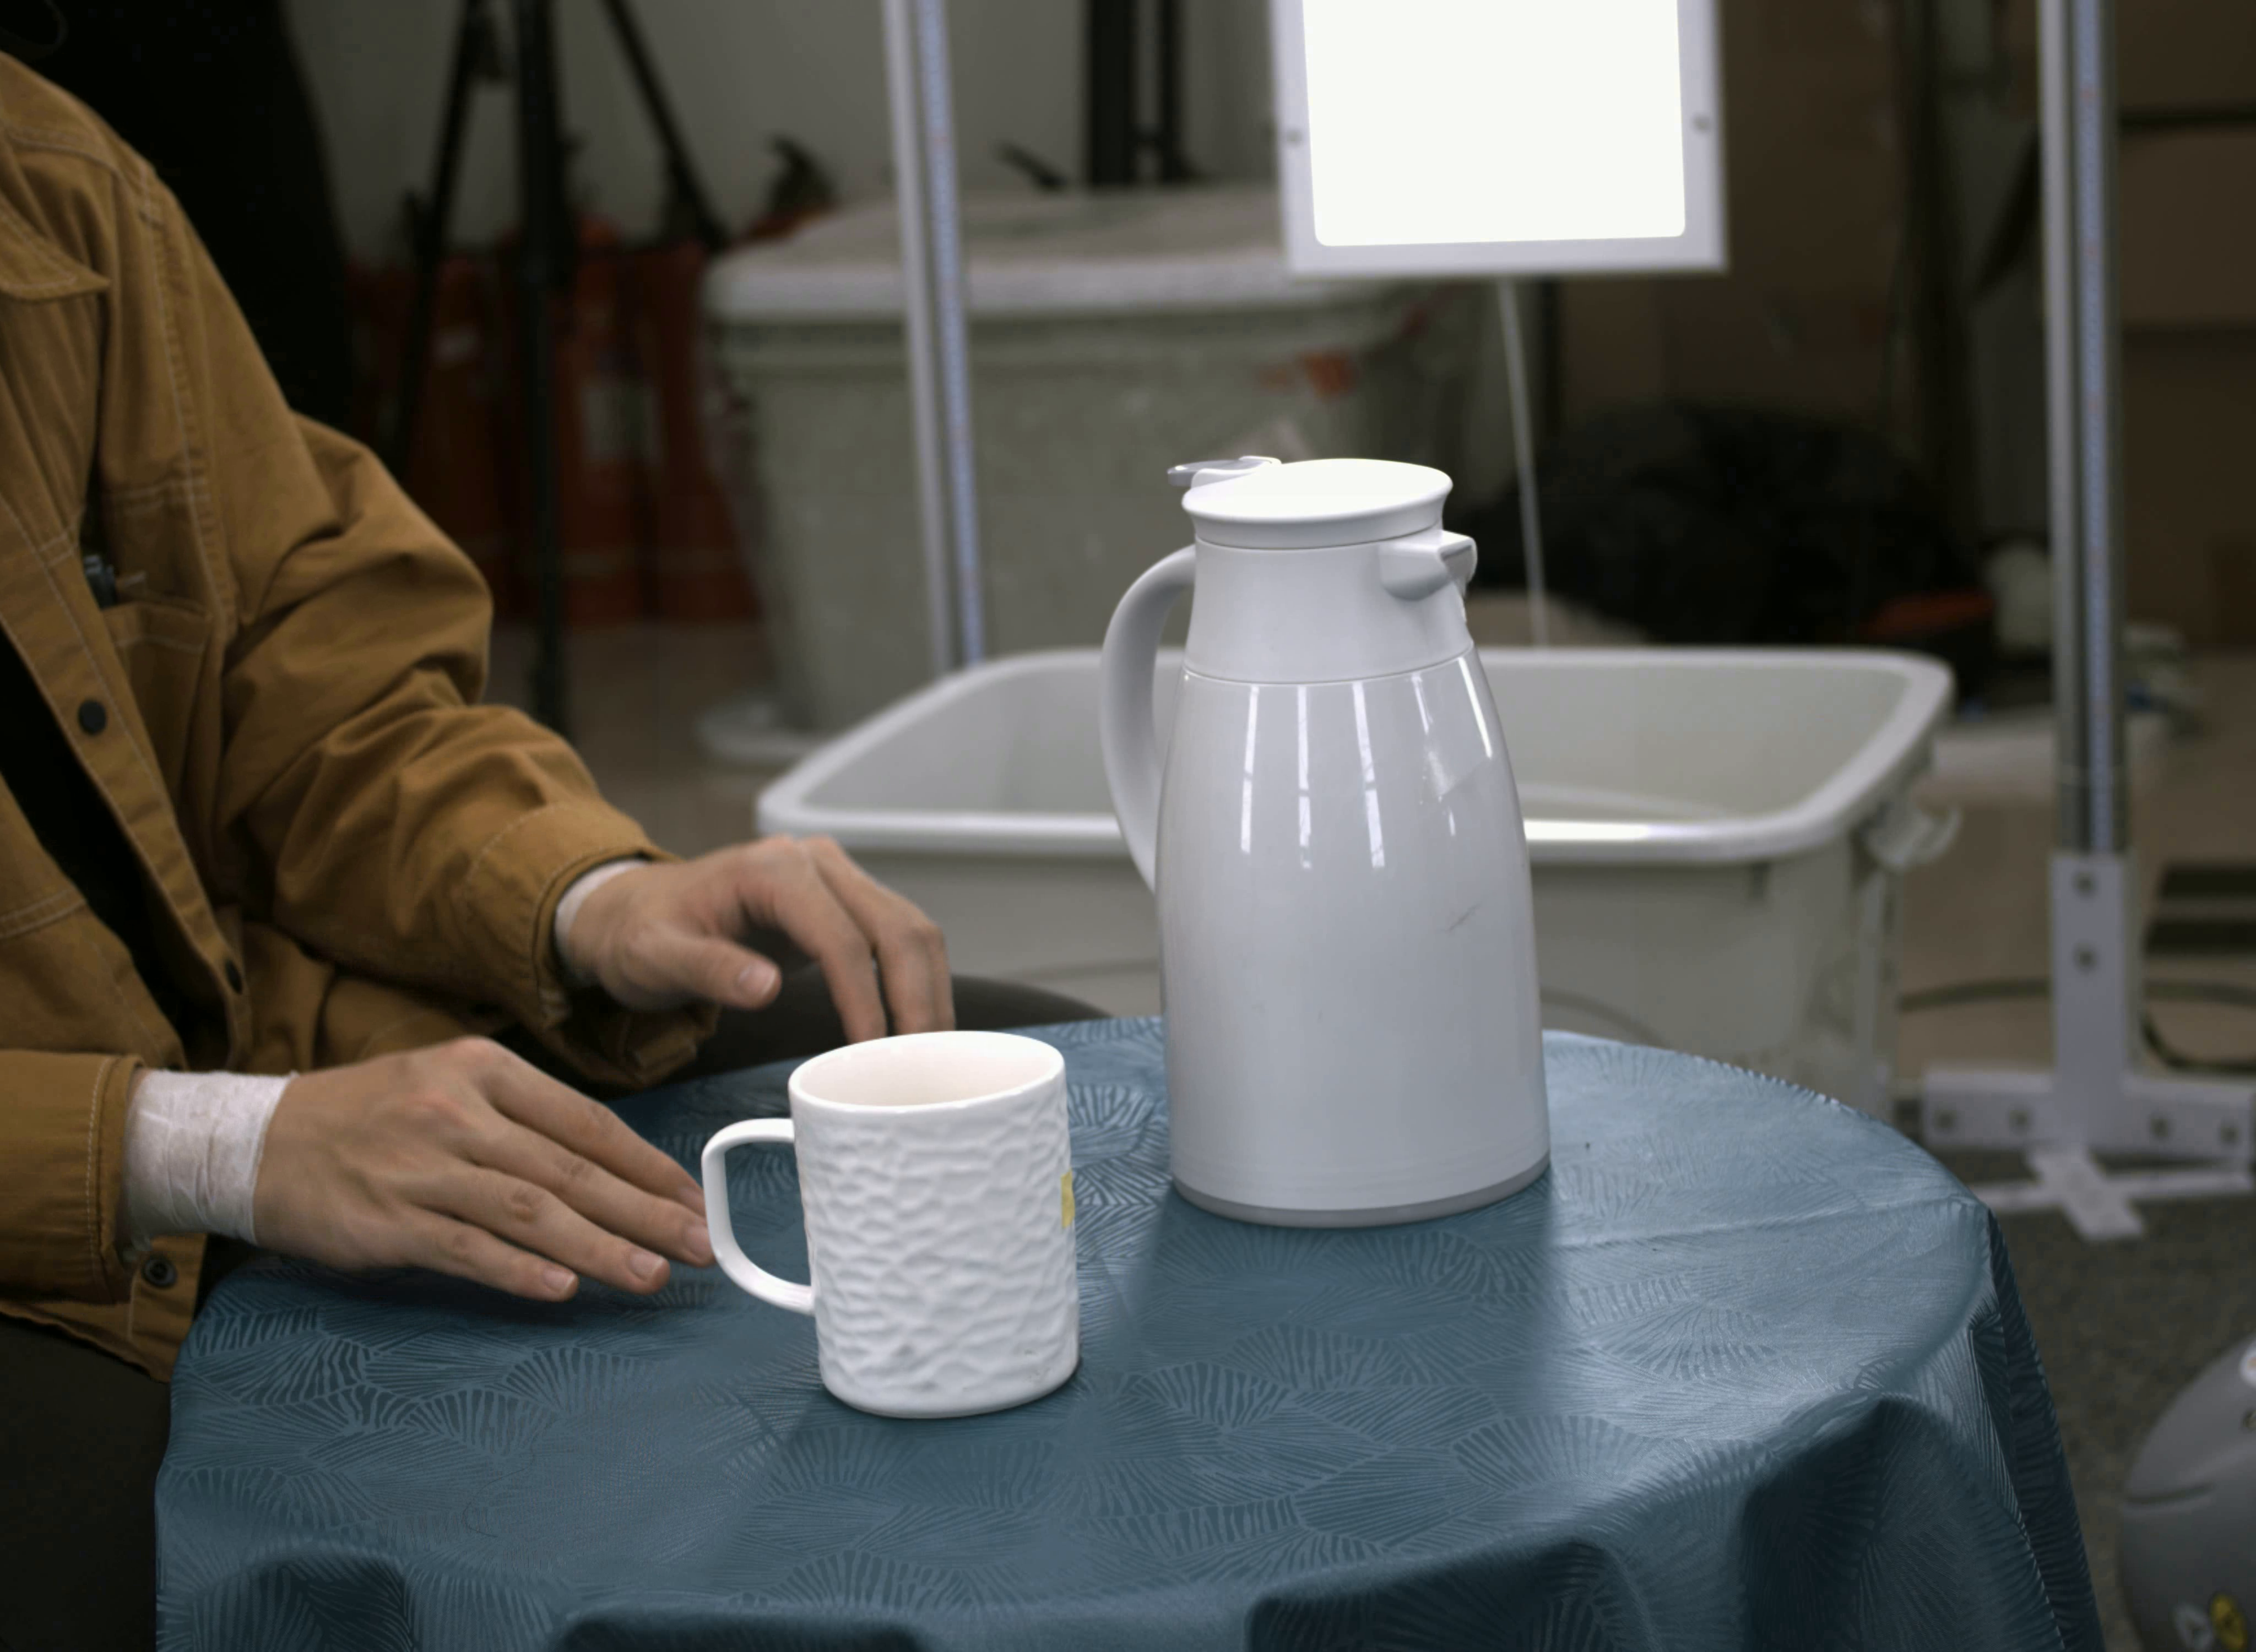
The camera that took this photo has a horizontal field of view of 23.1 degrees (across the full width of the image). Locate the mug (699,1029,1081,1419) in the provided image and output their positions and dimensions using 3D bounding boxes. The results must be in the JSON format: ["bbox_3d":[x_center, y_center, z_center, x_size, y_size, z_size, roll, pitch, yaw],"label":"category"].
[{"bbox_3d":[-0.075,0.124,1.721,0.119,0.102,0.084,-2,14,13],"label":"mug"}]

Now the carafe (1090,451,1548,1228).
[{"bbox_3d":[0.056,-0.003,1.883,0.171,0.249,0.129,8,20,43],"label":"carafe"}]
